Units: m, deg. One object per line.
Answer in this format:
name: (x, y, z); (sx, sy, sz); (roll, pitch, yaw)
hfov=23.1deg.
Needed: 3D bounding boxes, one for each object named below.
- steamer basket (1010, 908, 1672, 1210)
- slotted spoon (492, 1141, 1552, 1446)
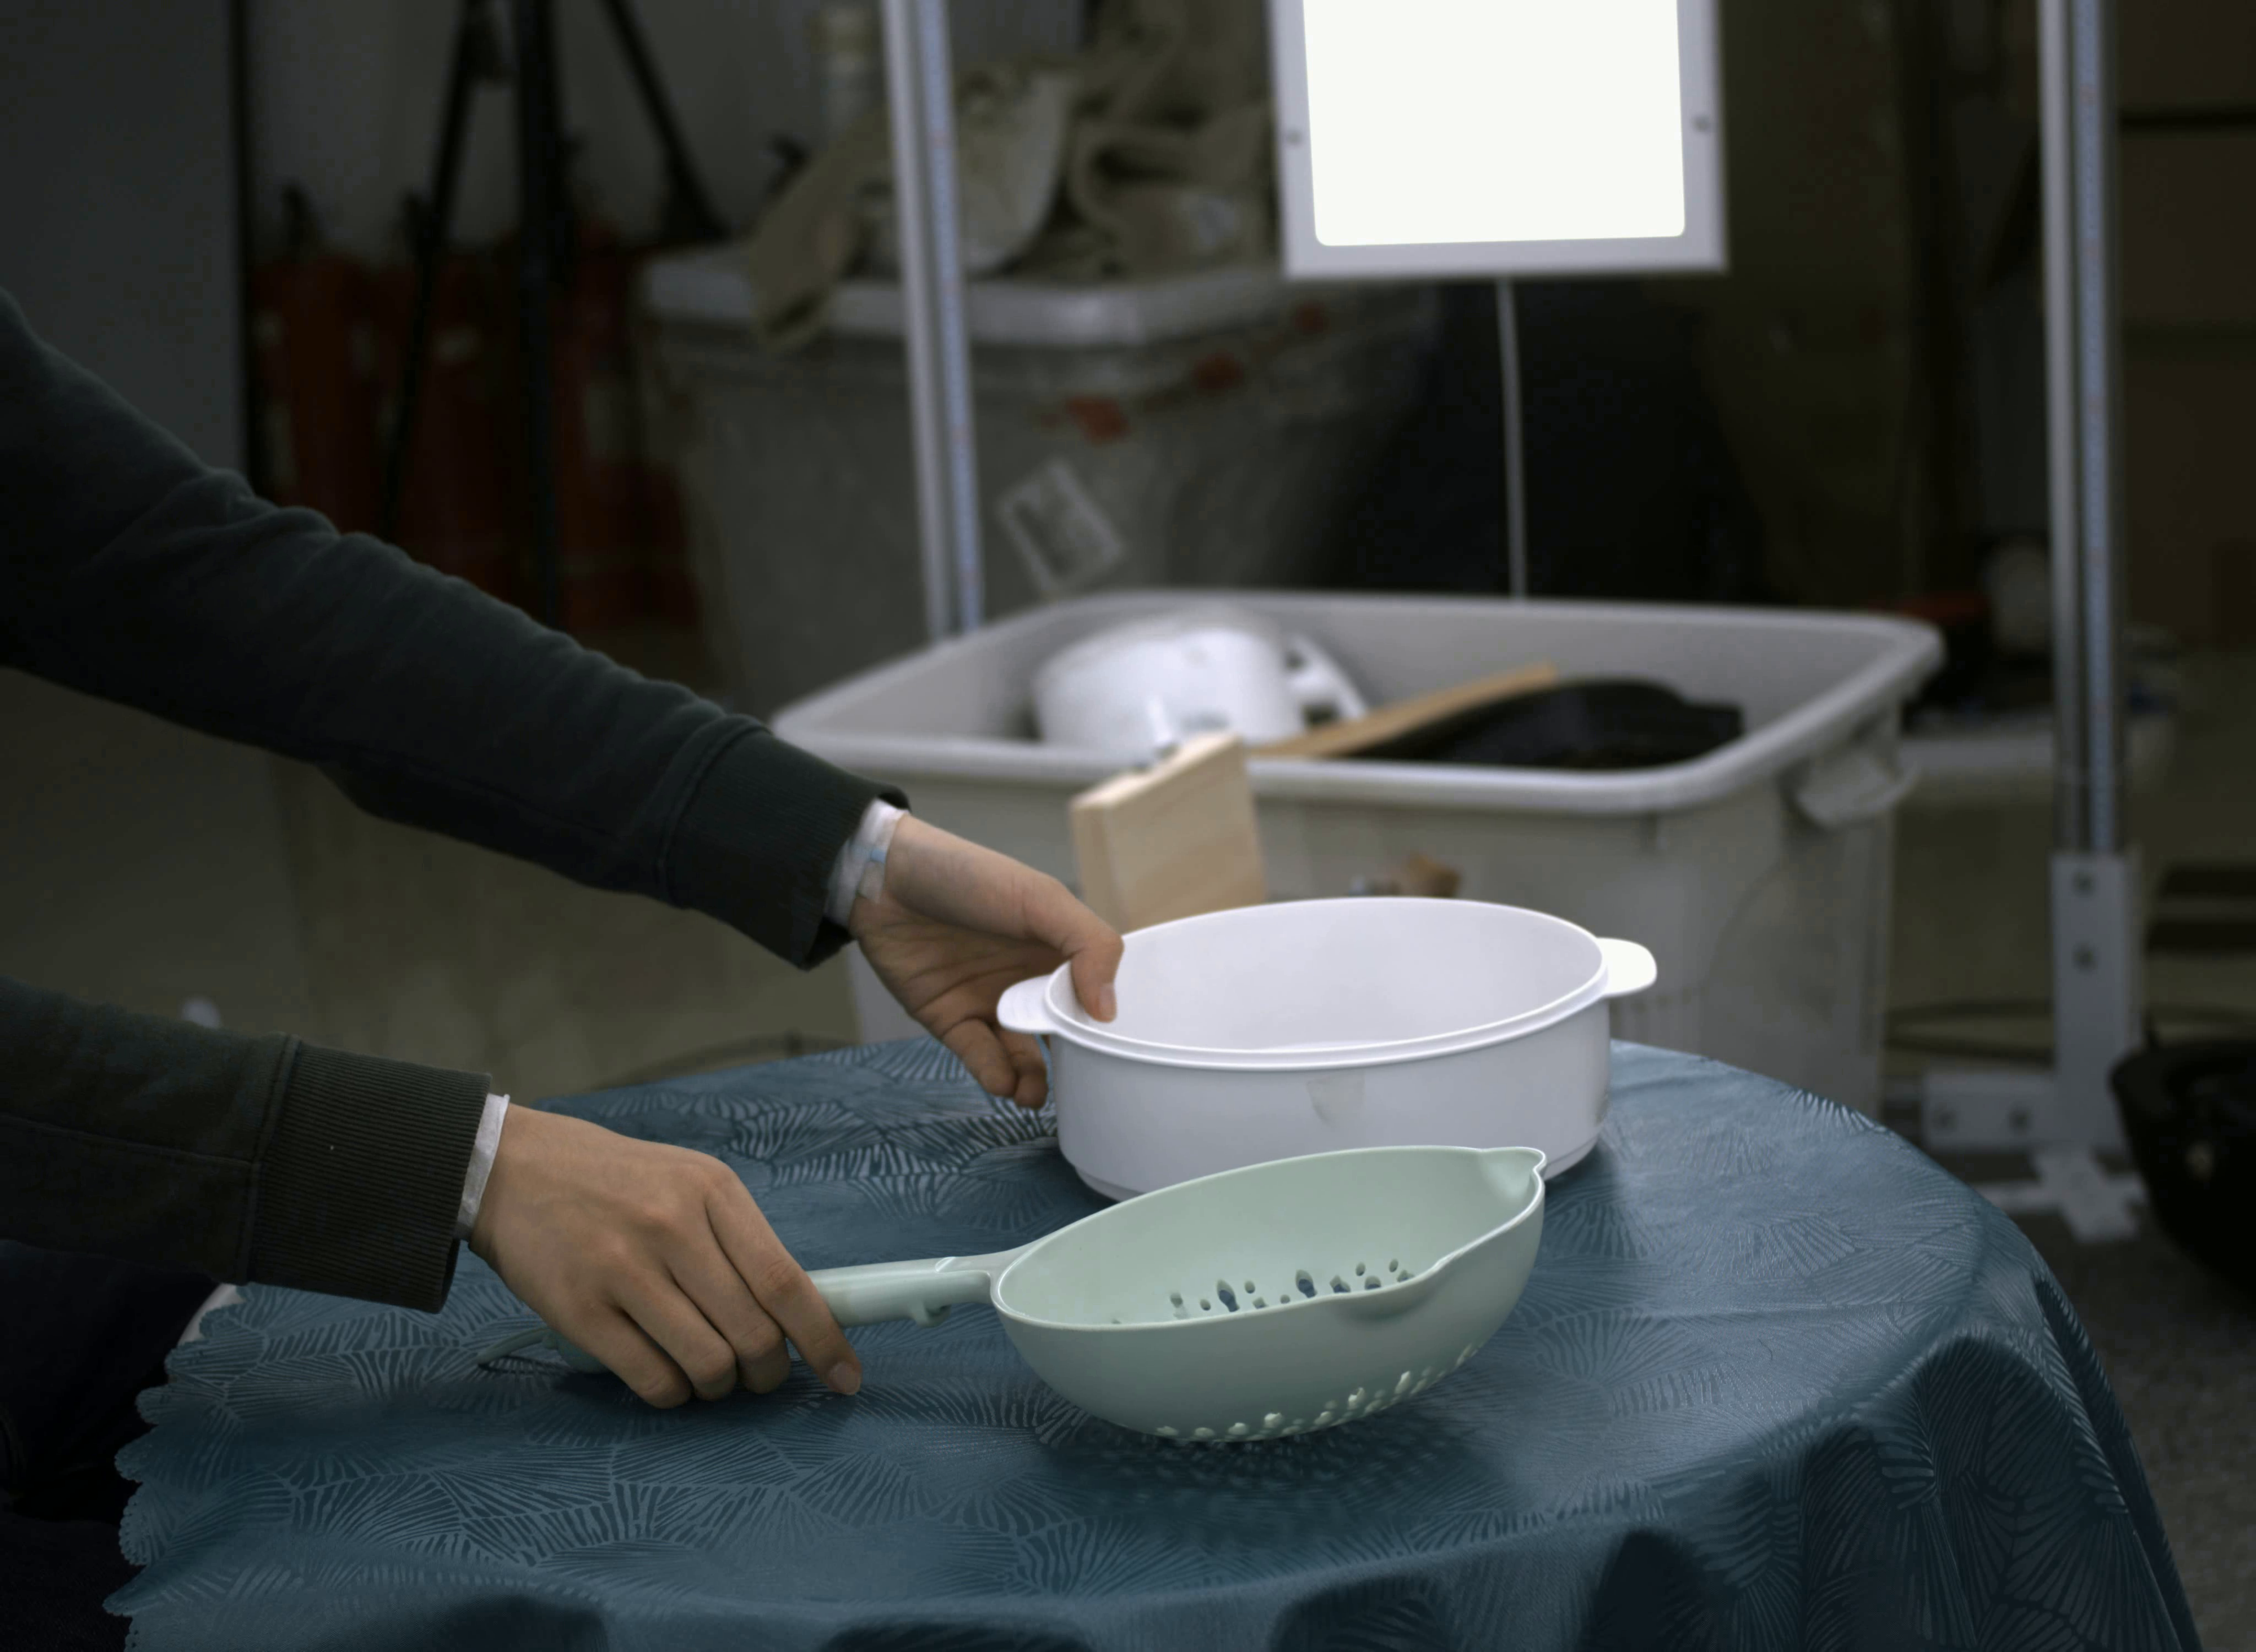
steamer basket: (0.076, 0.084, 1.910); (0.230, 0.069, 0.201); (-5, 13, 3)
slotted spoon: (-0.042, 0.145, 1.700); (0.364, 0.075, 0.166); (2, 15, 25)
